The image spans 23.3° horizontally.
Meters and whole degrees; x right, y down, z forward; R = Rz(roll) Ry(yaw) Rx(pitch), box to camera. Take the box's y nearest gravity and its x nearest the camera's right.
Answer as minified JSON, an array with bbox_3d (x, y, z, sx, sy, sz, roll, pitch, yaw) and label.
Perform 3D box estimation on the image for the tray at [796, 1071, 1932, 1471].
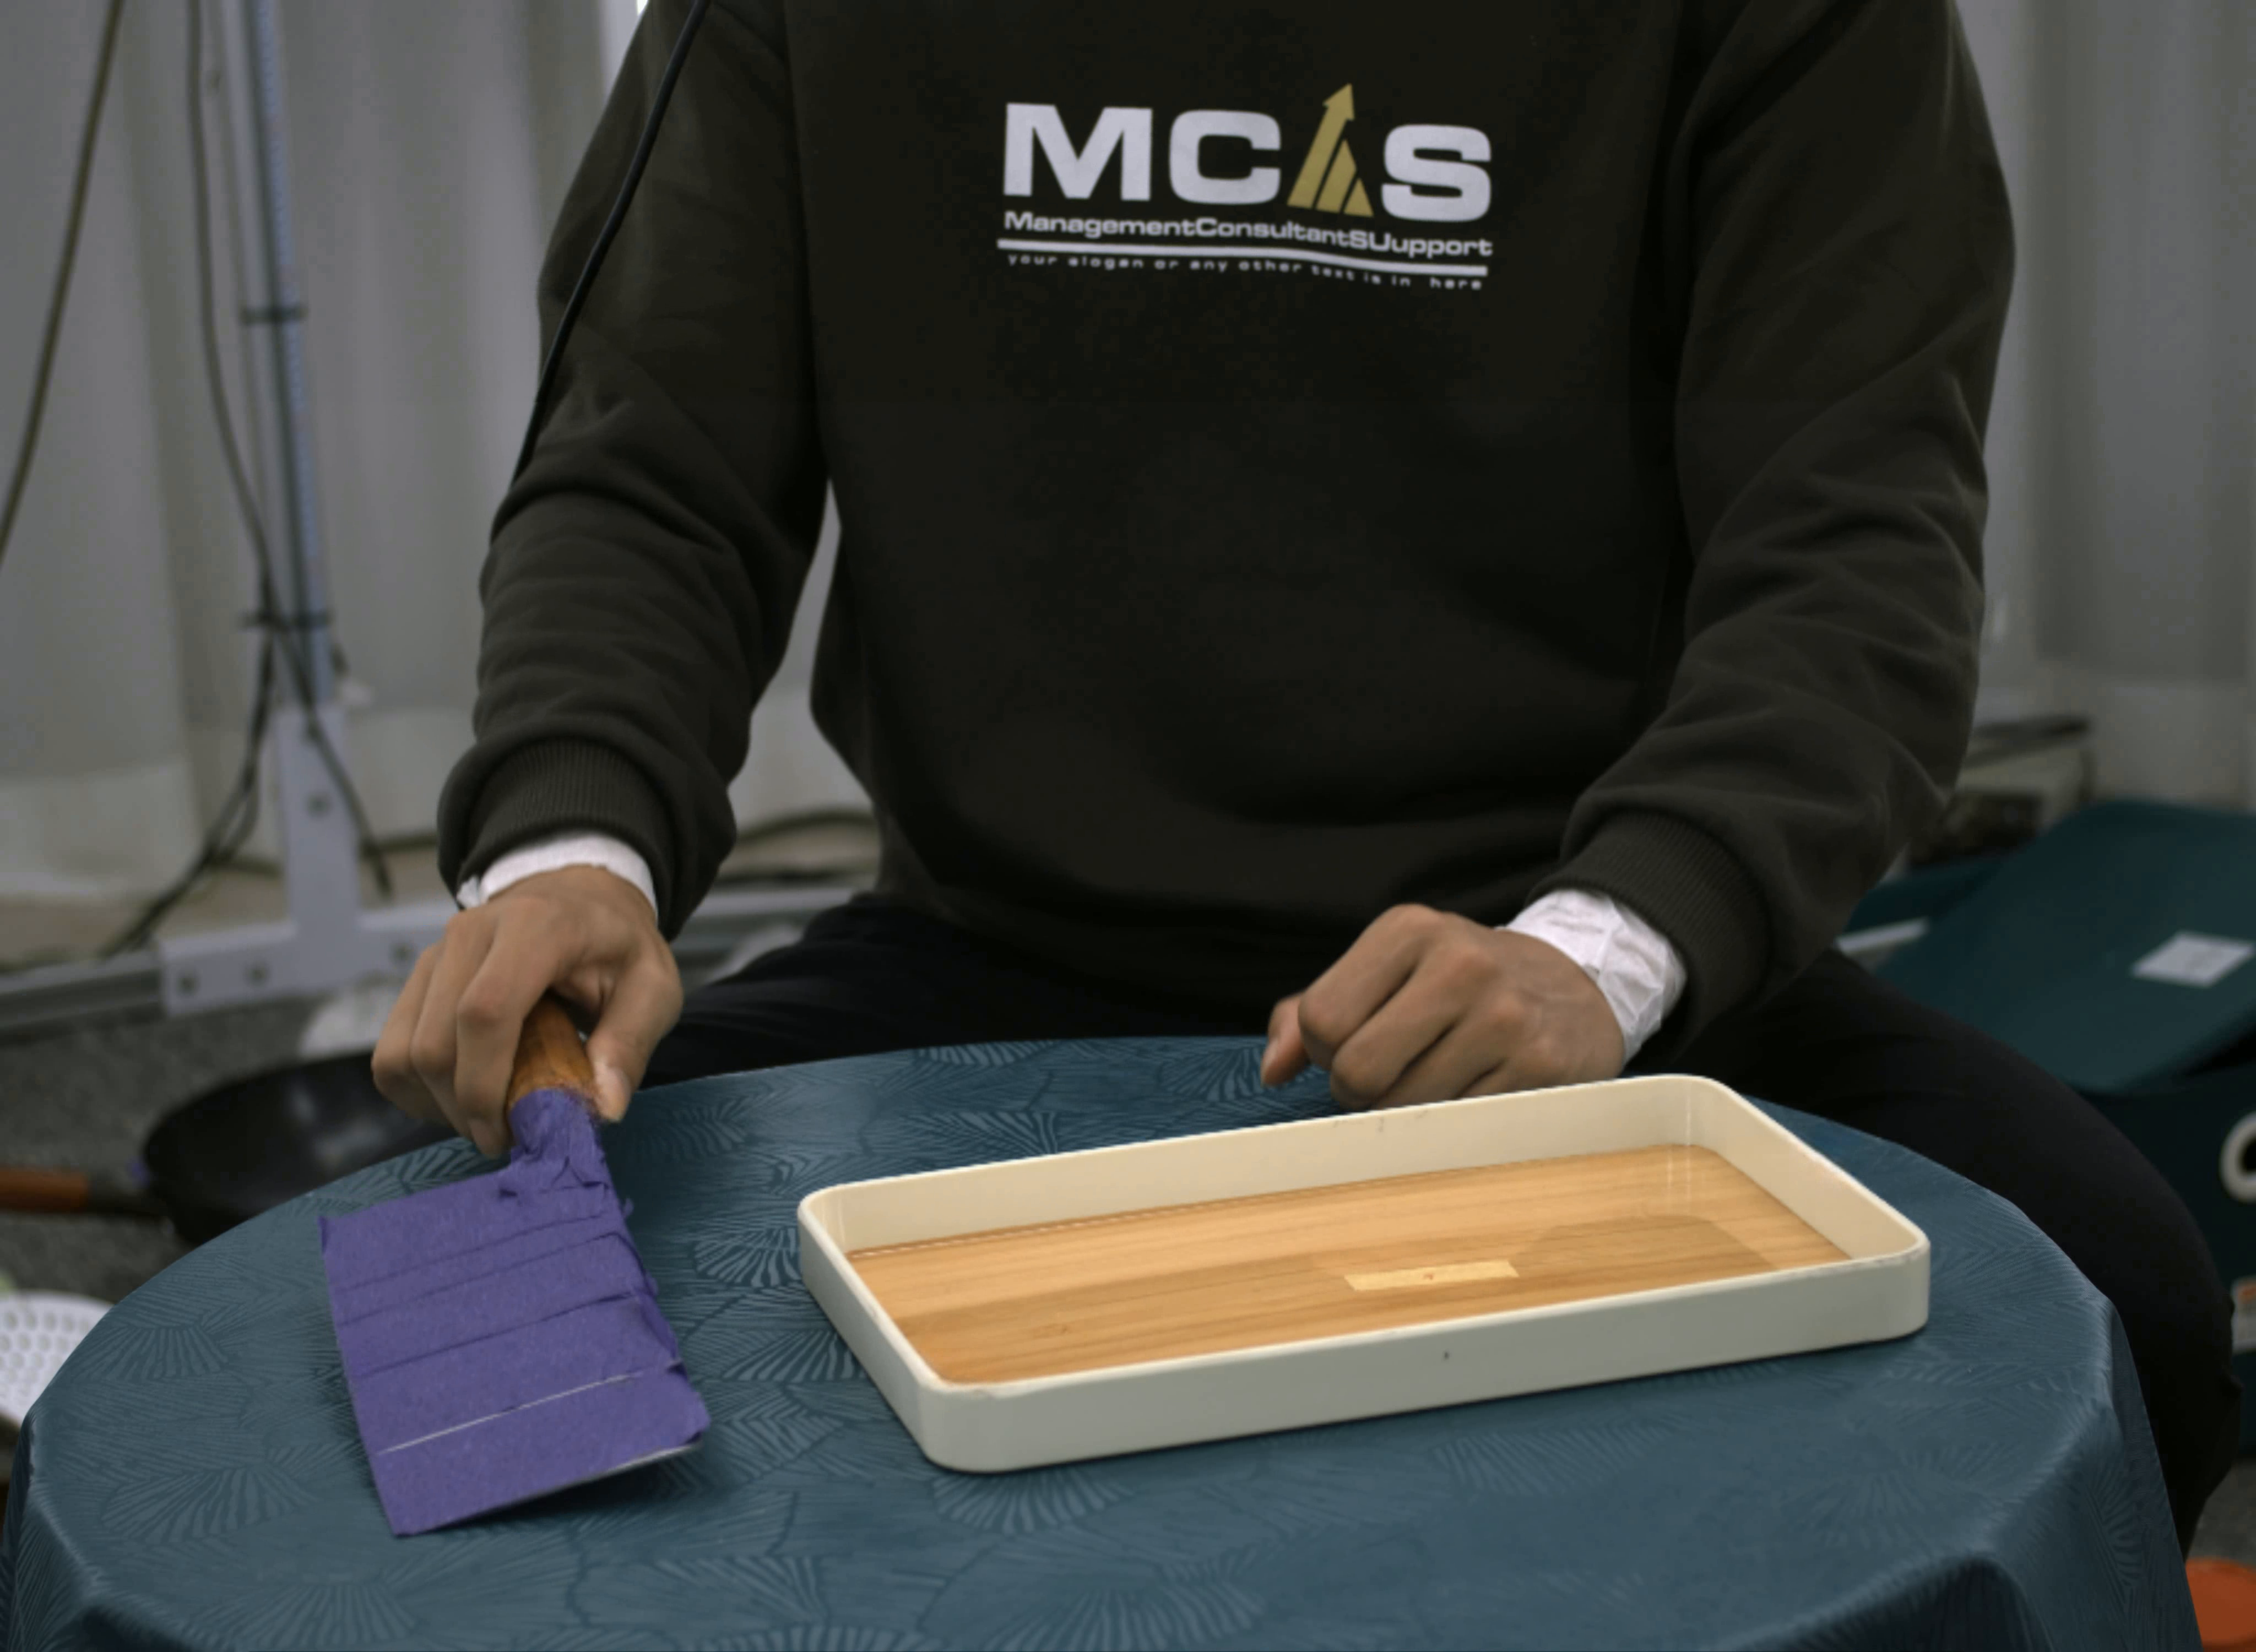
[{"bbox_3d":[0.065,0.127,1.605,0.299,0.027,0.193,-7,15,-15],"label":"tray"}]

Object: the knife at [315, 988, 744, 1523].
[{"bbox_3d":[-0.191,0.121,1.612,0.103,0.032,0.318,-14,21,-10],"label":"knife"}]
